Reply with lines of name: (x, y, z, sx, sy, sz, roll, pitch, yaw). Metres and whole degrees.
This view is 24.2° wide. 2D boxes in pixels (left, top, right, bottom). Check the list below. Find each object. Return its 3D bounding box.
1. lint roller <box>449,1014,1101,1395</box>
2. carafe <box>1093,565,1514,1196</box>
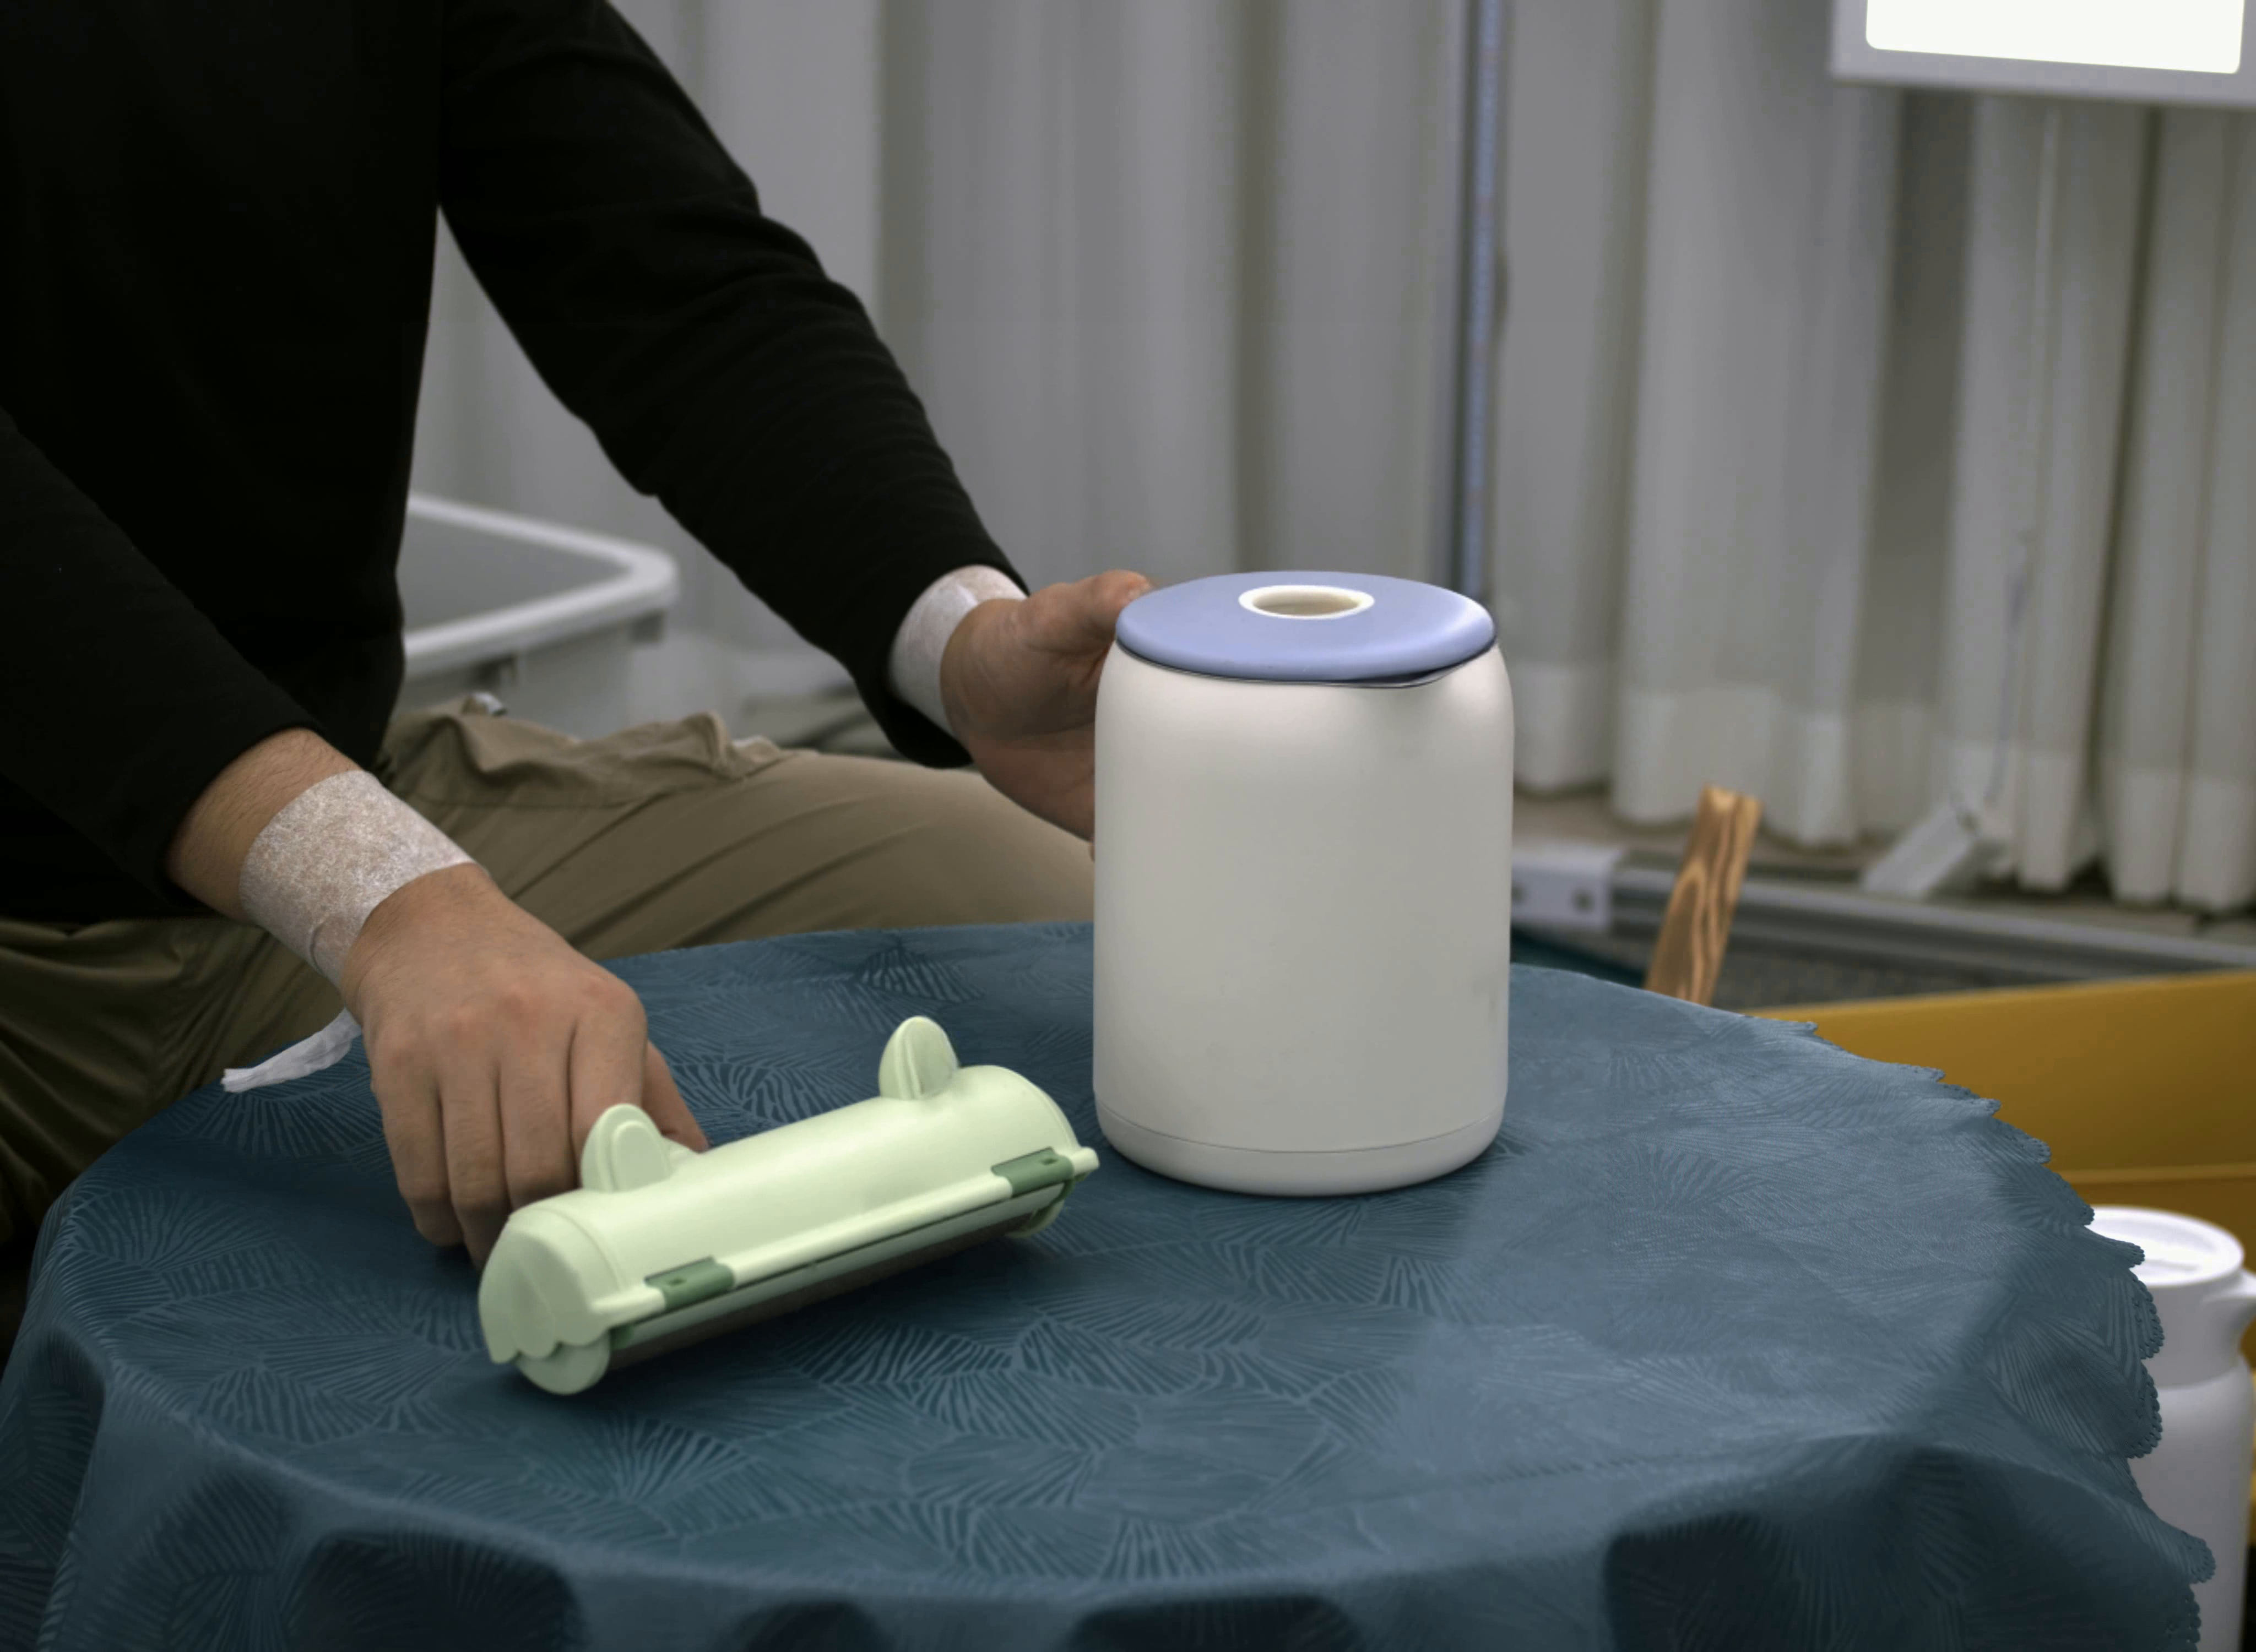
lint roller: (-0.136, 0.093, 1.537, 0.181, 0.083, 0.199, 20, 24, 40)
carafe: (0.043, 0.011, 1.667, 0.133, 0.184, 0.189, -7, 16, -27)
